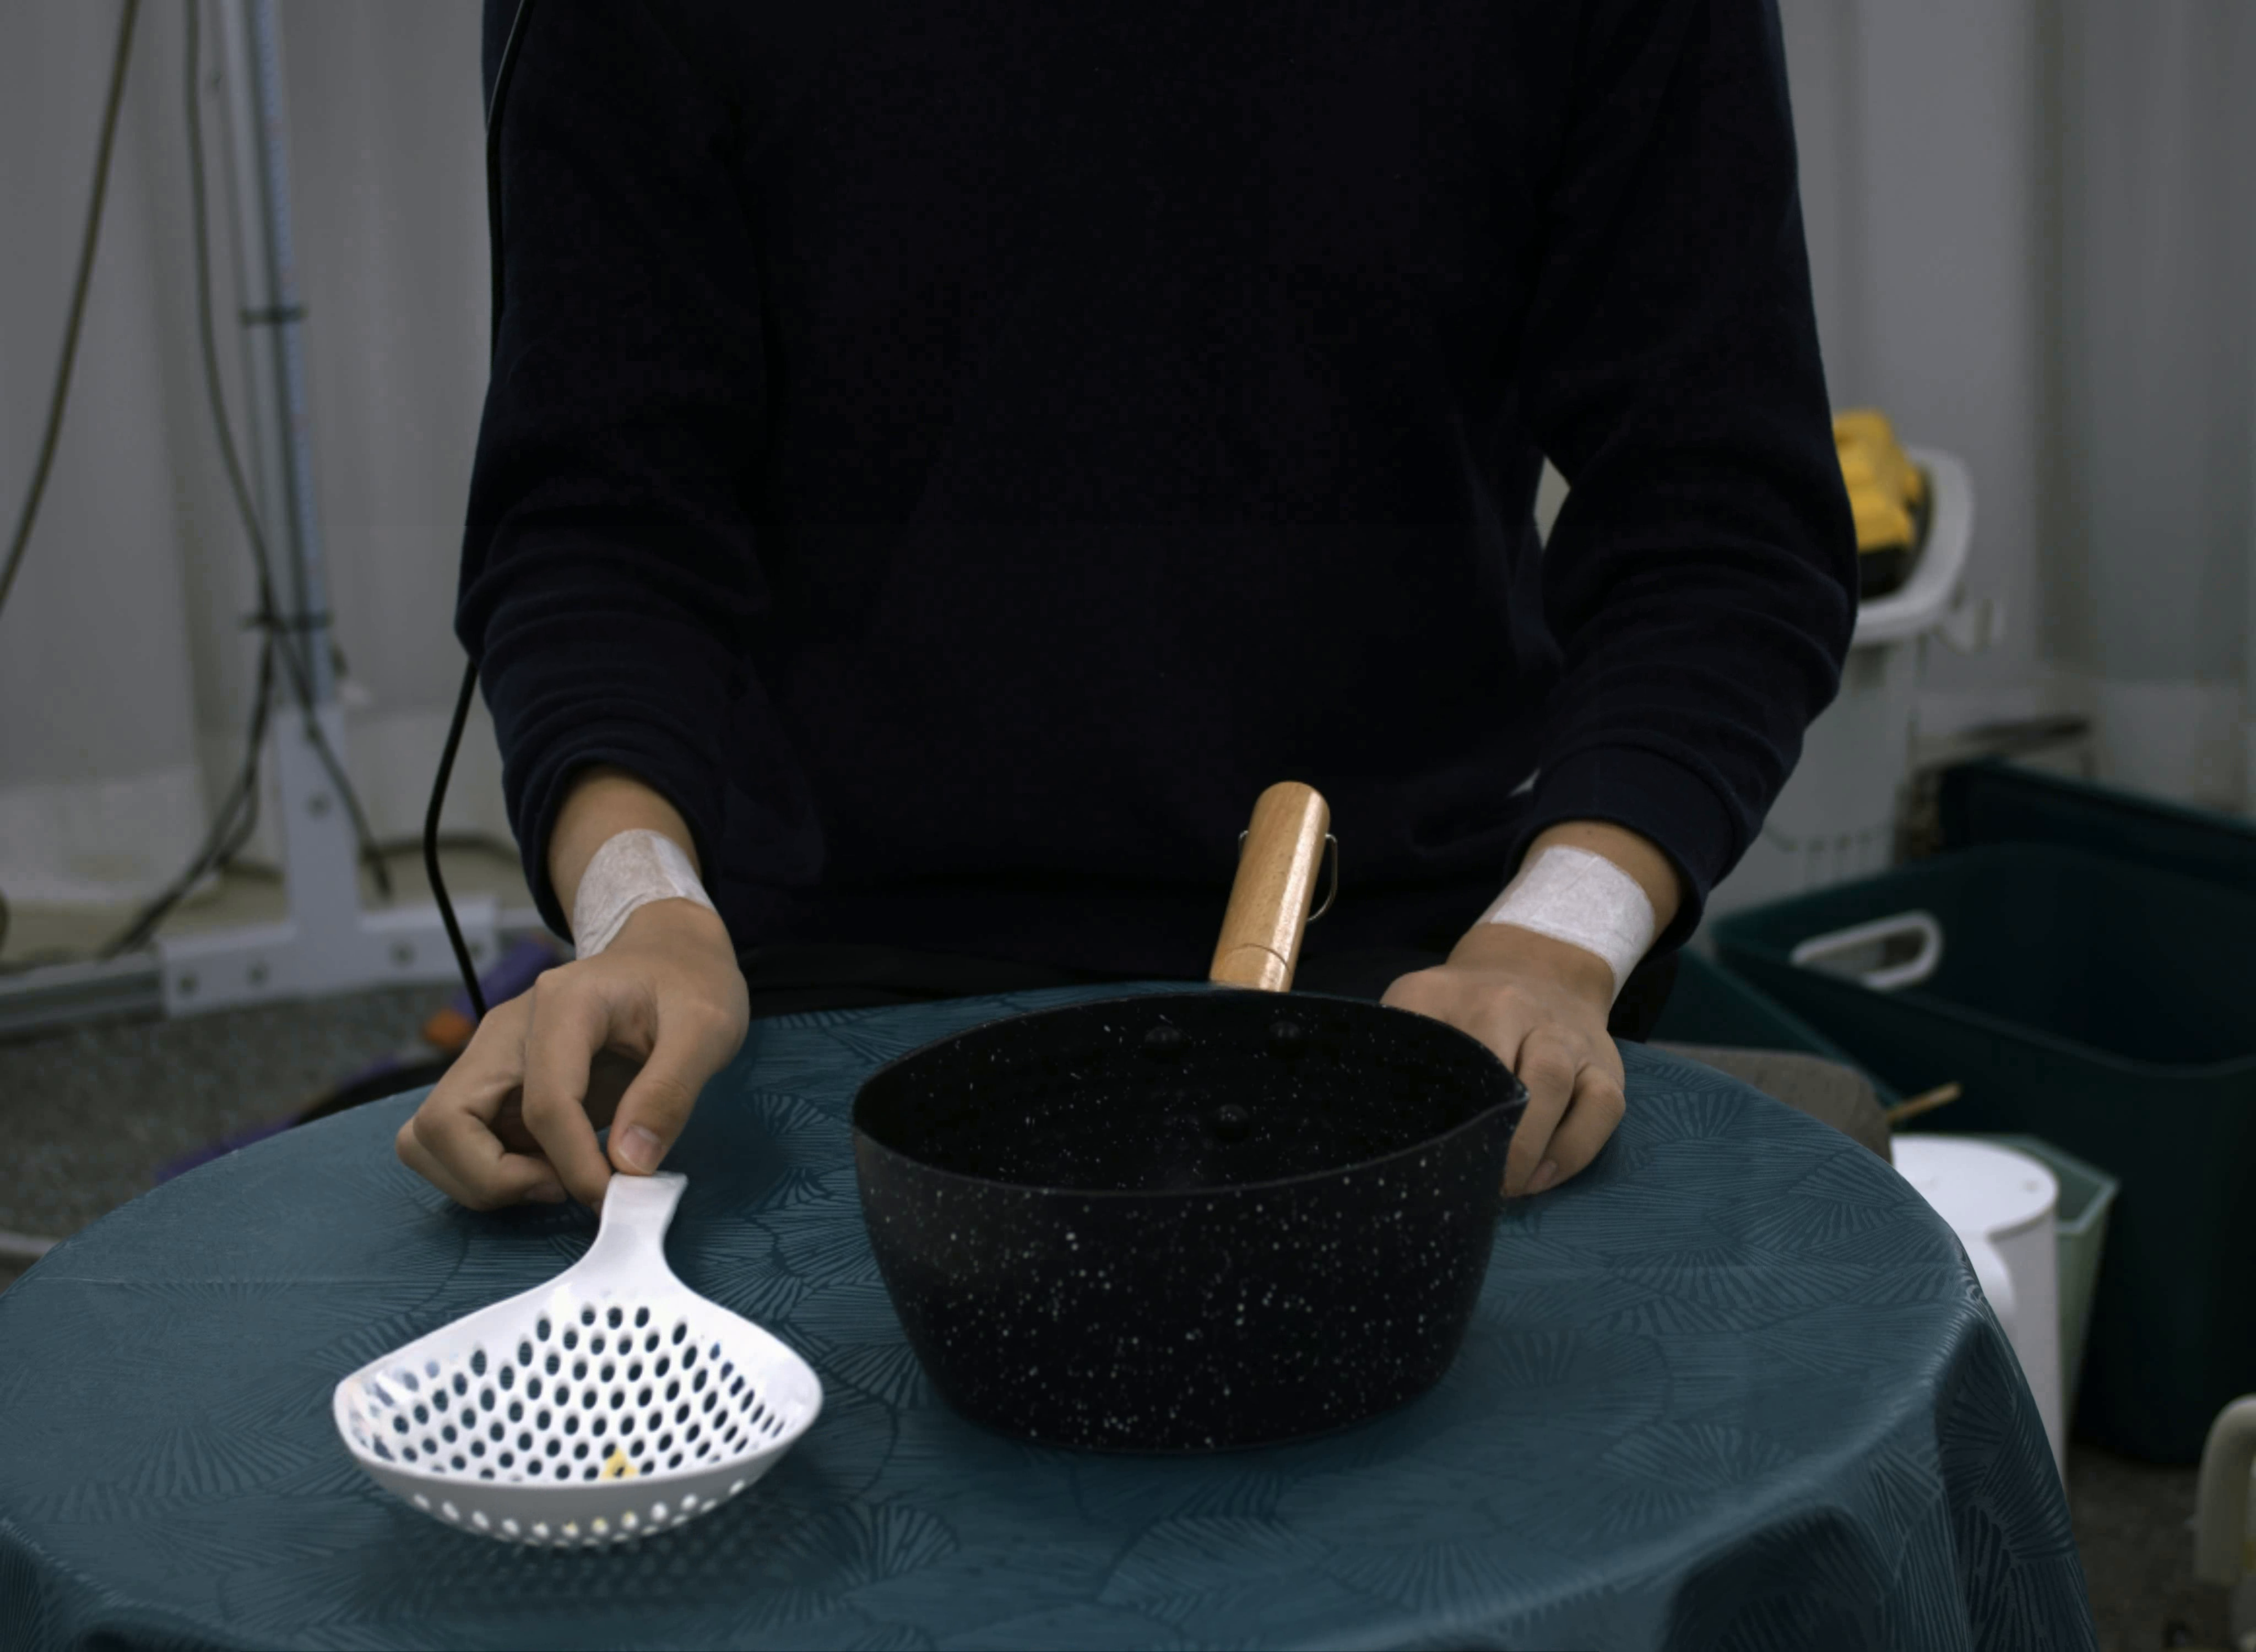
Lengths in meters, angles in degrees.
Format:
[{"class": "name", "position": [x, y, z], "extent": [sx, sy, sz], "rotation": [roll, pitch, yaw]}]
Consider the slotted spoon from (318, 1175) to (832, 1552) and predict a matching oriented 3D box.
[{"class": "slotted spoon", "position": [-0.149, 0.140, 1.569], "extent": [0.136, 0.050, 0.350], "rotation": [-1, 16, -1]}]

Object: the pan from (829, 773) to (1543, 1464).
[{"class": "pan", "position": [0.027, 0.082, 1.627], "extent": [0.207, 0.108, 0.345], "rotation": [-2, 16, 9]}]
